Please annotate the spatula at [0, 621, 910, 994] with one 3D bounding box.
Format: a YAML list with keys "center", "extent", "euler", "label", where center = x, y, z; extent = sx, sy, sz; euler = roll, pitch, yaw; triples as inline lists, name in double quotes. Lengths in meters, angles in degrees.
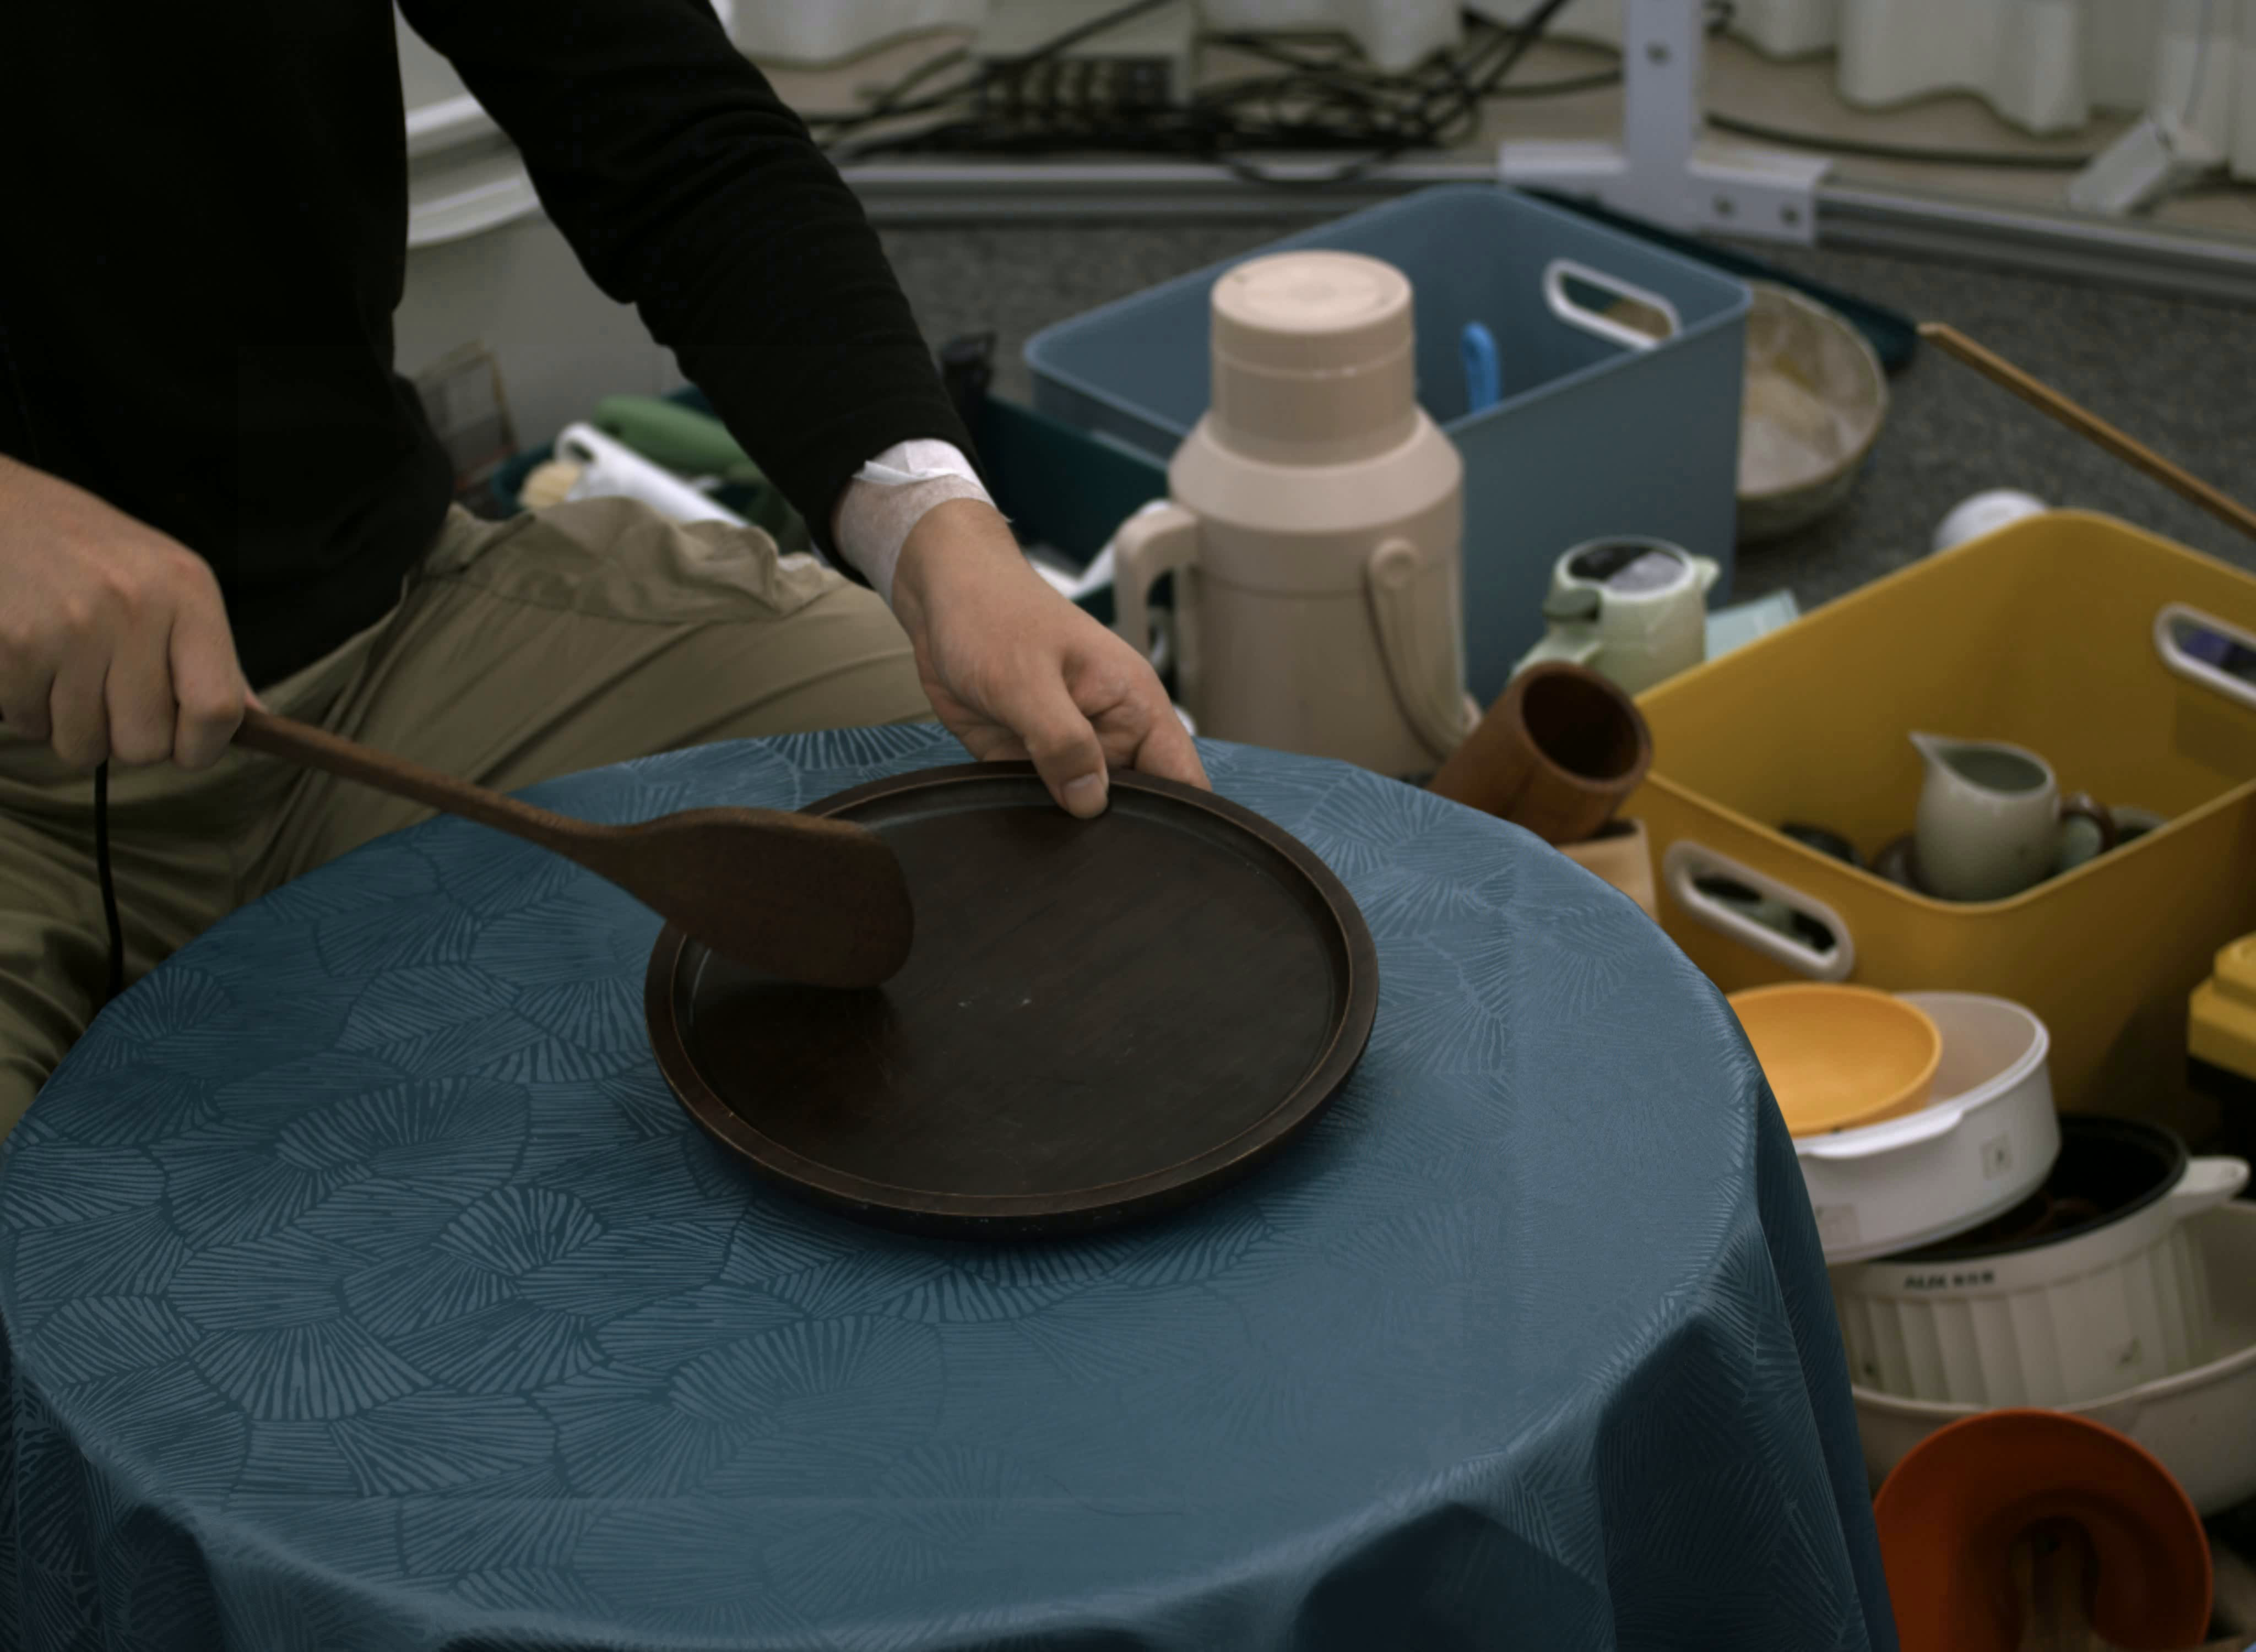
- center: [-0.255, -0.018, 1.916]
  extent: [0.384, 0.094, 0.016]
  euler: [17, 55, 9]
  label: "spatula"

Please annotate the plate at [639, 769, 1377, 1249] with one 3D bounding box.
- center: [-0.041, 0.060, 1.924]
  extent: [0.253, 0.028, 0.259]
  euler: [0, 37, 0]
  label: "plate"
